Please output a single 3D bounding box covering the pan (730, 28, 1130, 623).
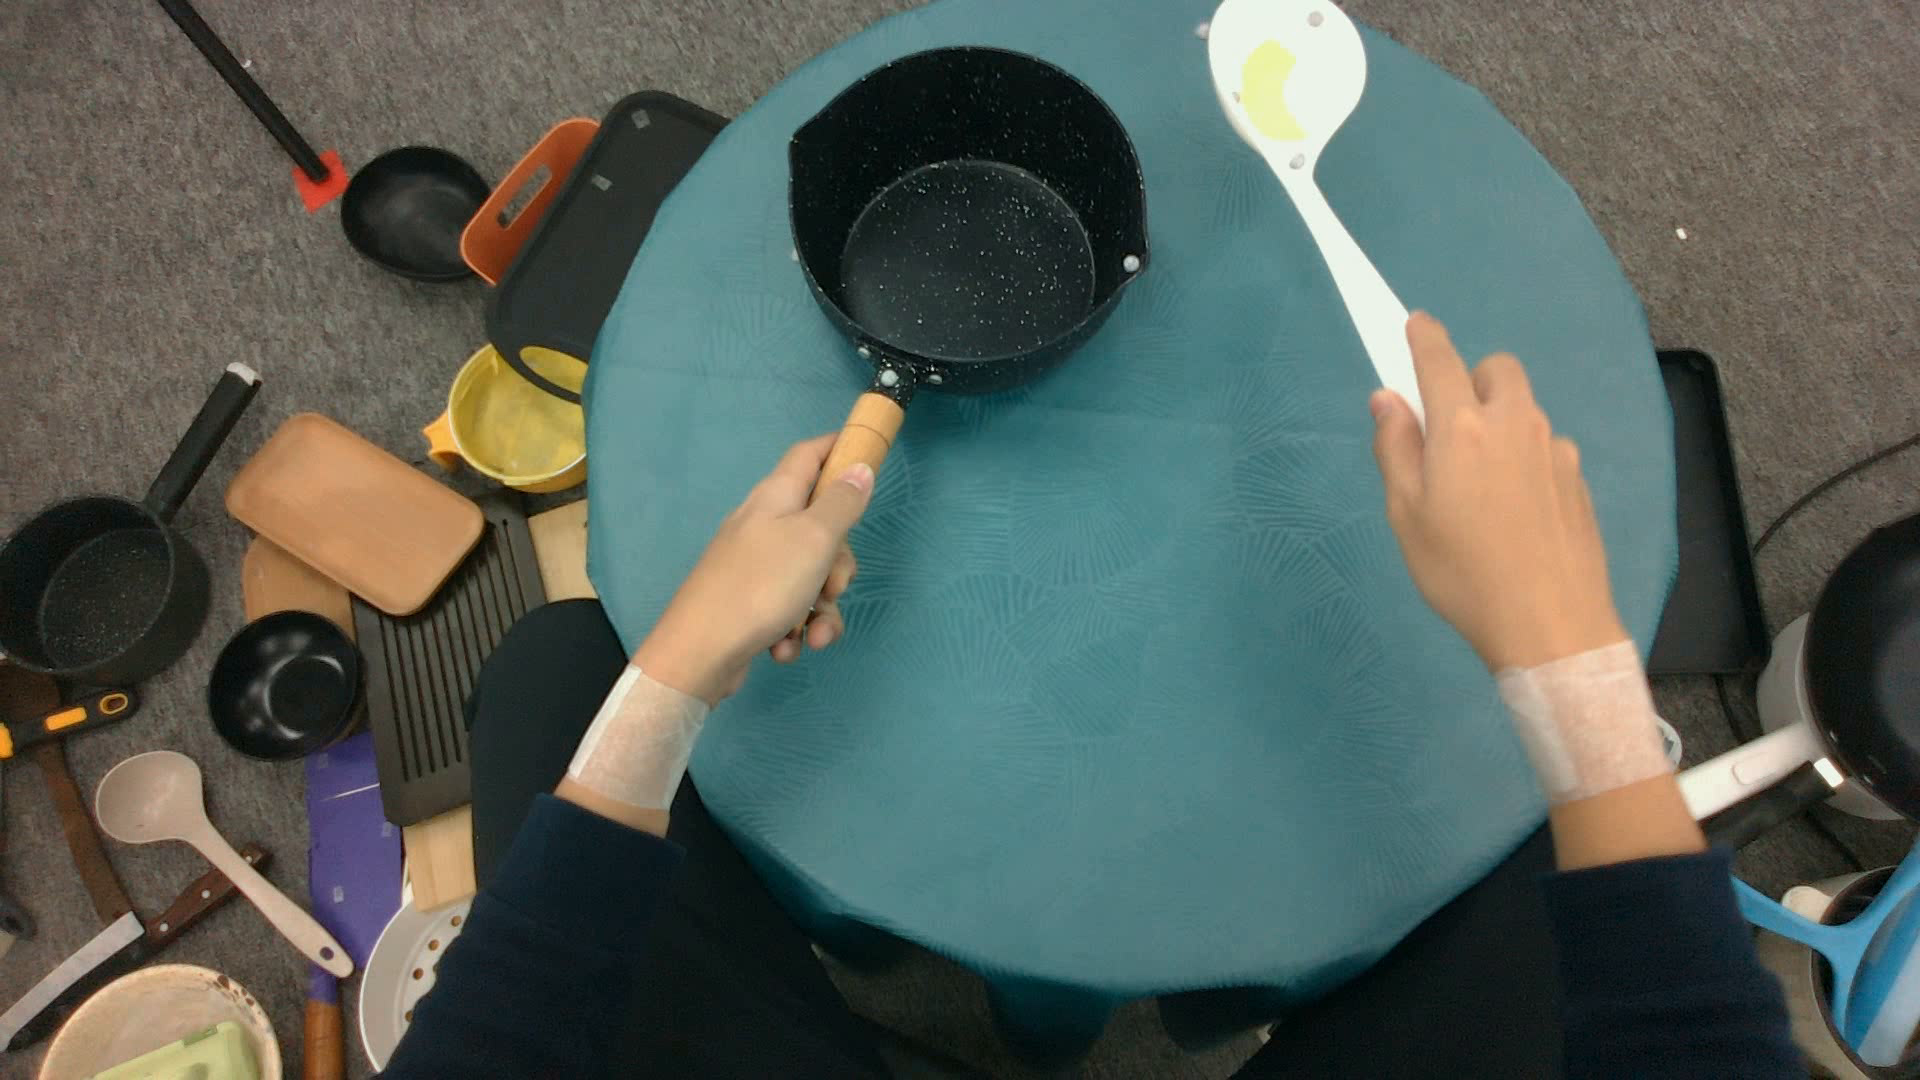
[{"bbox_3d":[-0.034,-0.104,0.715,0.207,0.108,0.344,18,73,4],"label":"pan"}]

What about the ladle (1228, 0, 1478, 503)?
[{"bbox_3d":[0.196,-0.156,0.673,0.090,0.069,0.294,5,54,-24],"label":"ladle"}]
